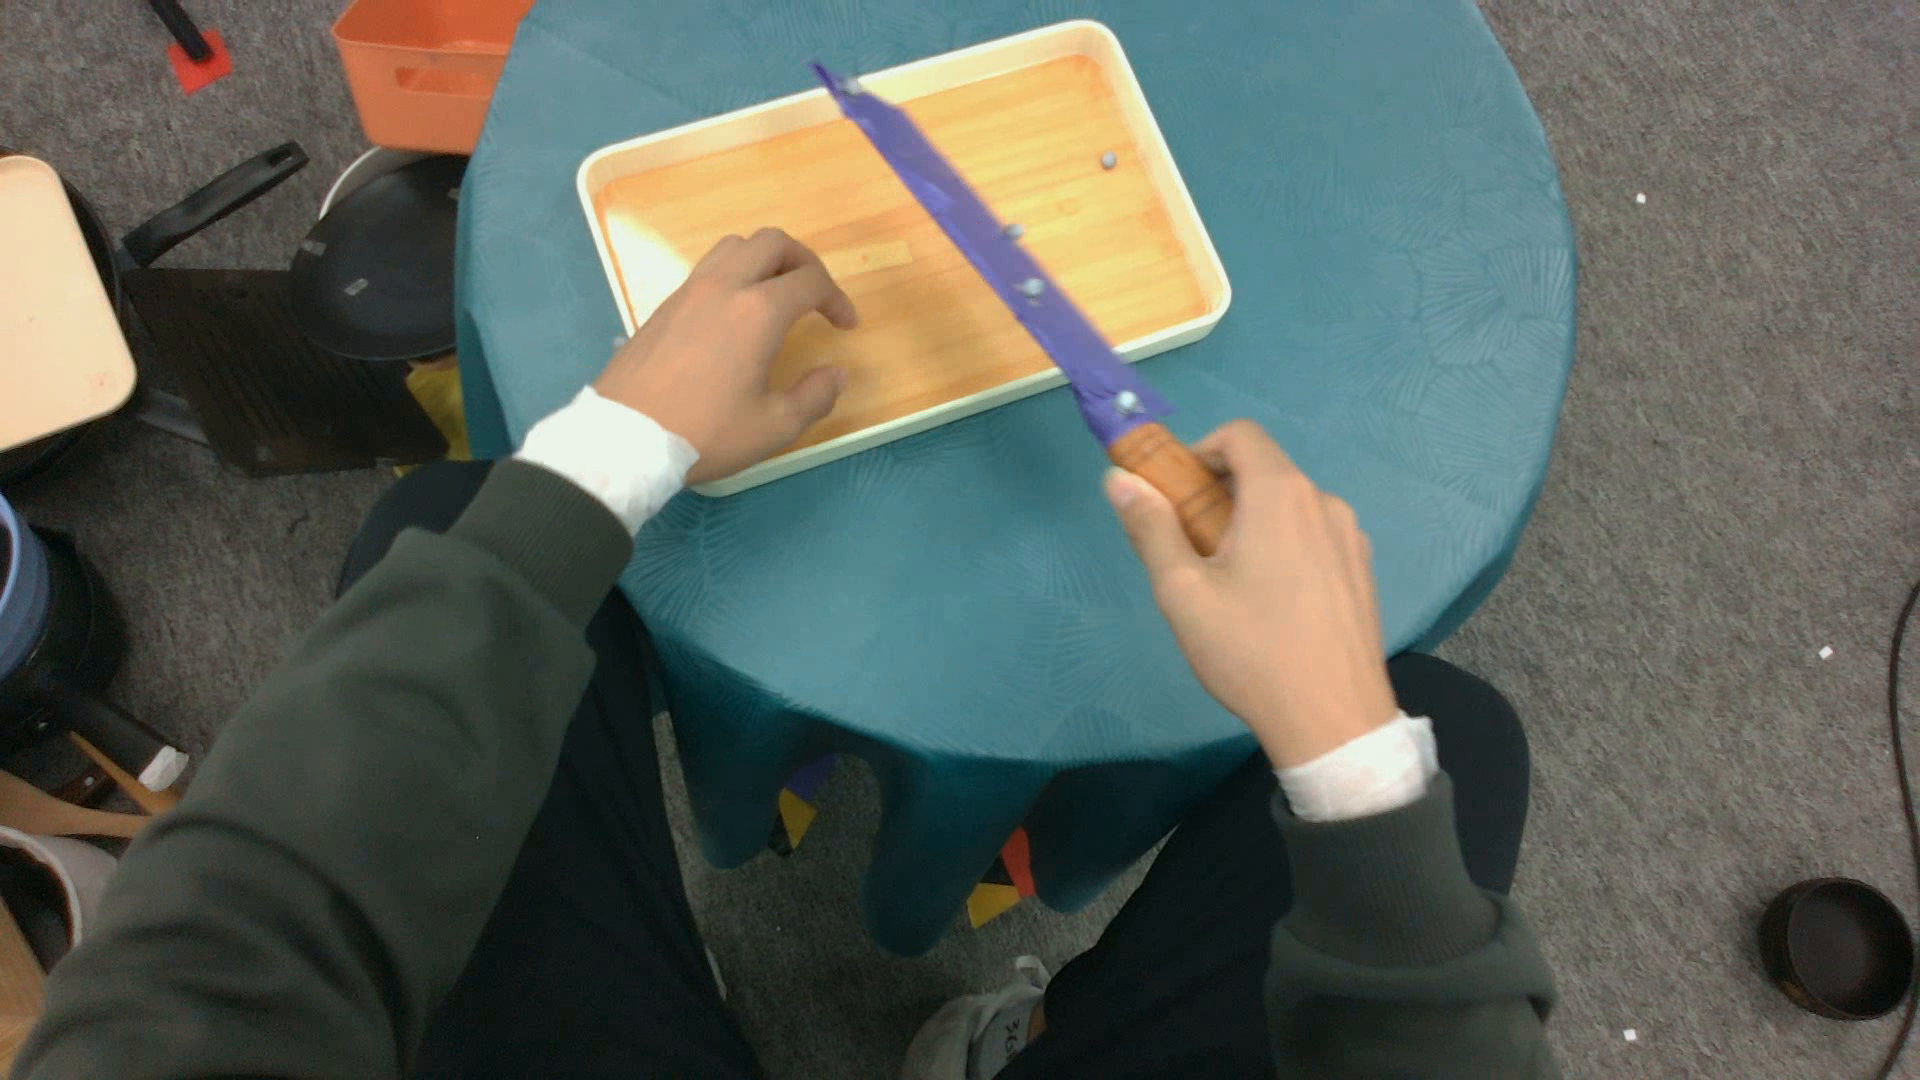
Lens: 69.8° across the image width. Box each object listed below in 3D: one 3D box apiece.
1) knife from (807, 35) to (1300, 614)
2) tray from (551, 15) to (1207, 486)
[{"bbox_3d":[0.050,-0.106,0.602,0.315,0.032,0.104,54,30,14],"label":"knife"},{"bbox_3d":[-0.040,-0.157,0.716,0.301,0.027,0.192,-20,75,-12],"label":"tray"}]
